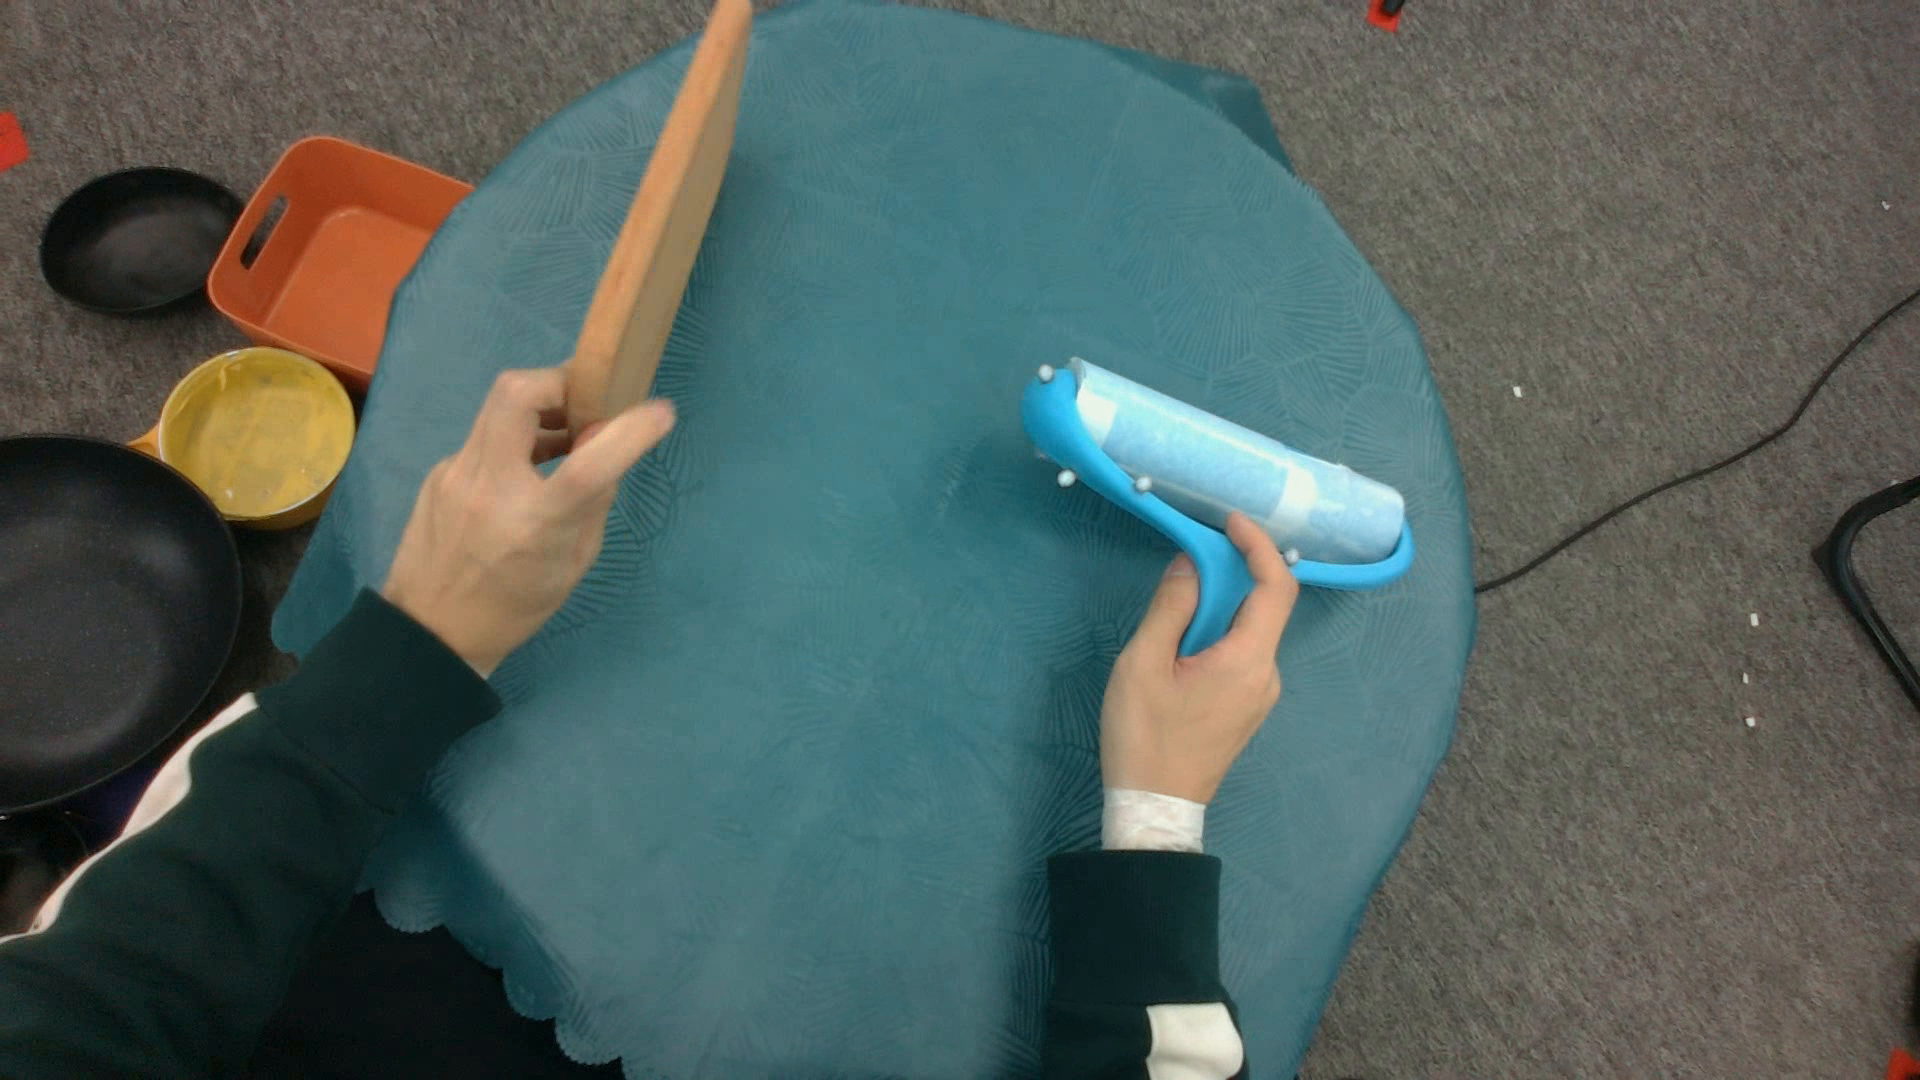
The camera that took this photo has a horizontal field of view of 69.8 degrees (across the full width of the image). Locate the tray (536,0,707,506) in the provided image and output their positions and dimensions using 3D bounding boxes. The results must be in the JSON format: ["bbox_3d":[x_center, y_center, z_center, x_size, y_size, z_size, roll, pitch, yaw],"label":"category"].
[{"bbox_3d":[-0.157,-0.142,0.654,0.023,0.130,0.252,11,60,-6],"label":"tray"}]

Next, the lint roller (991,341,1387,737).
[{"bbox_3d":[0.113,0.009,0.696,0.229,0.067,0.181,16,70,-19],"label":"lint roller"}]
